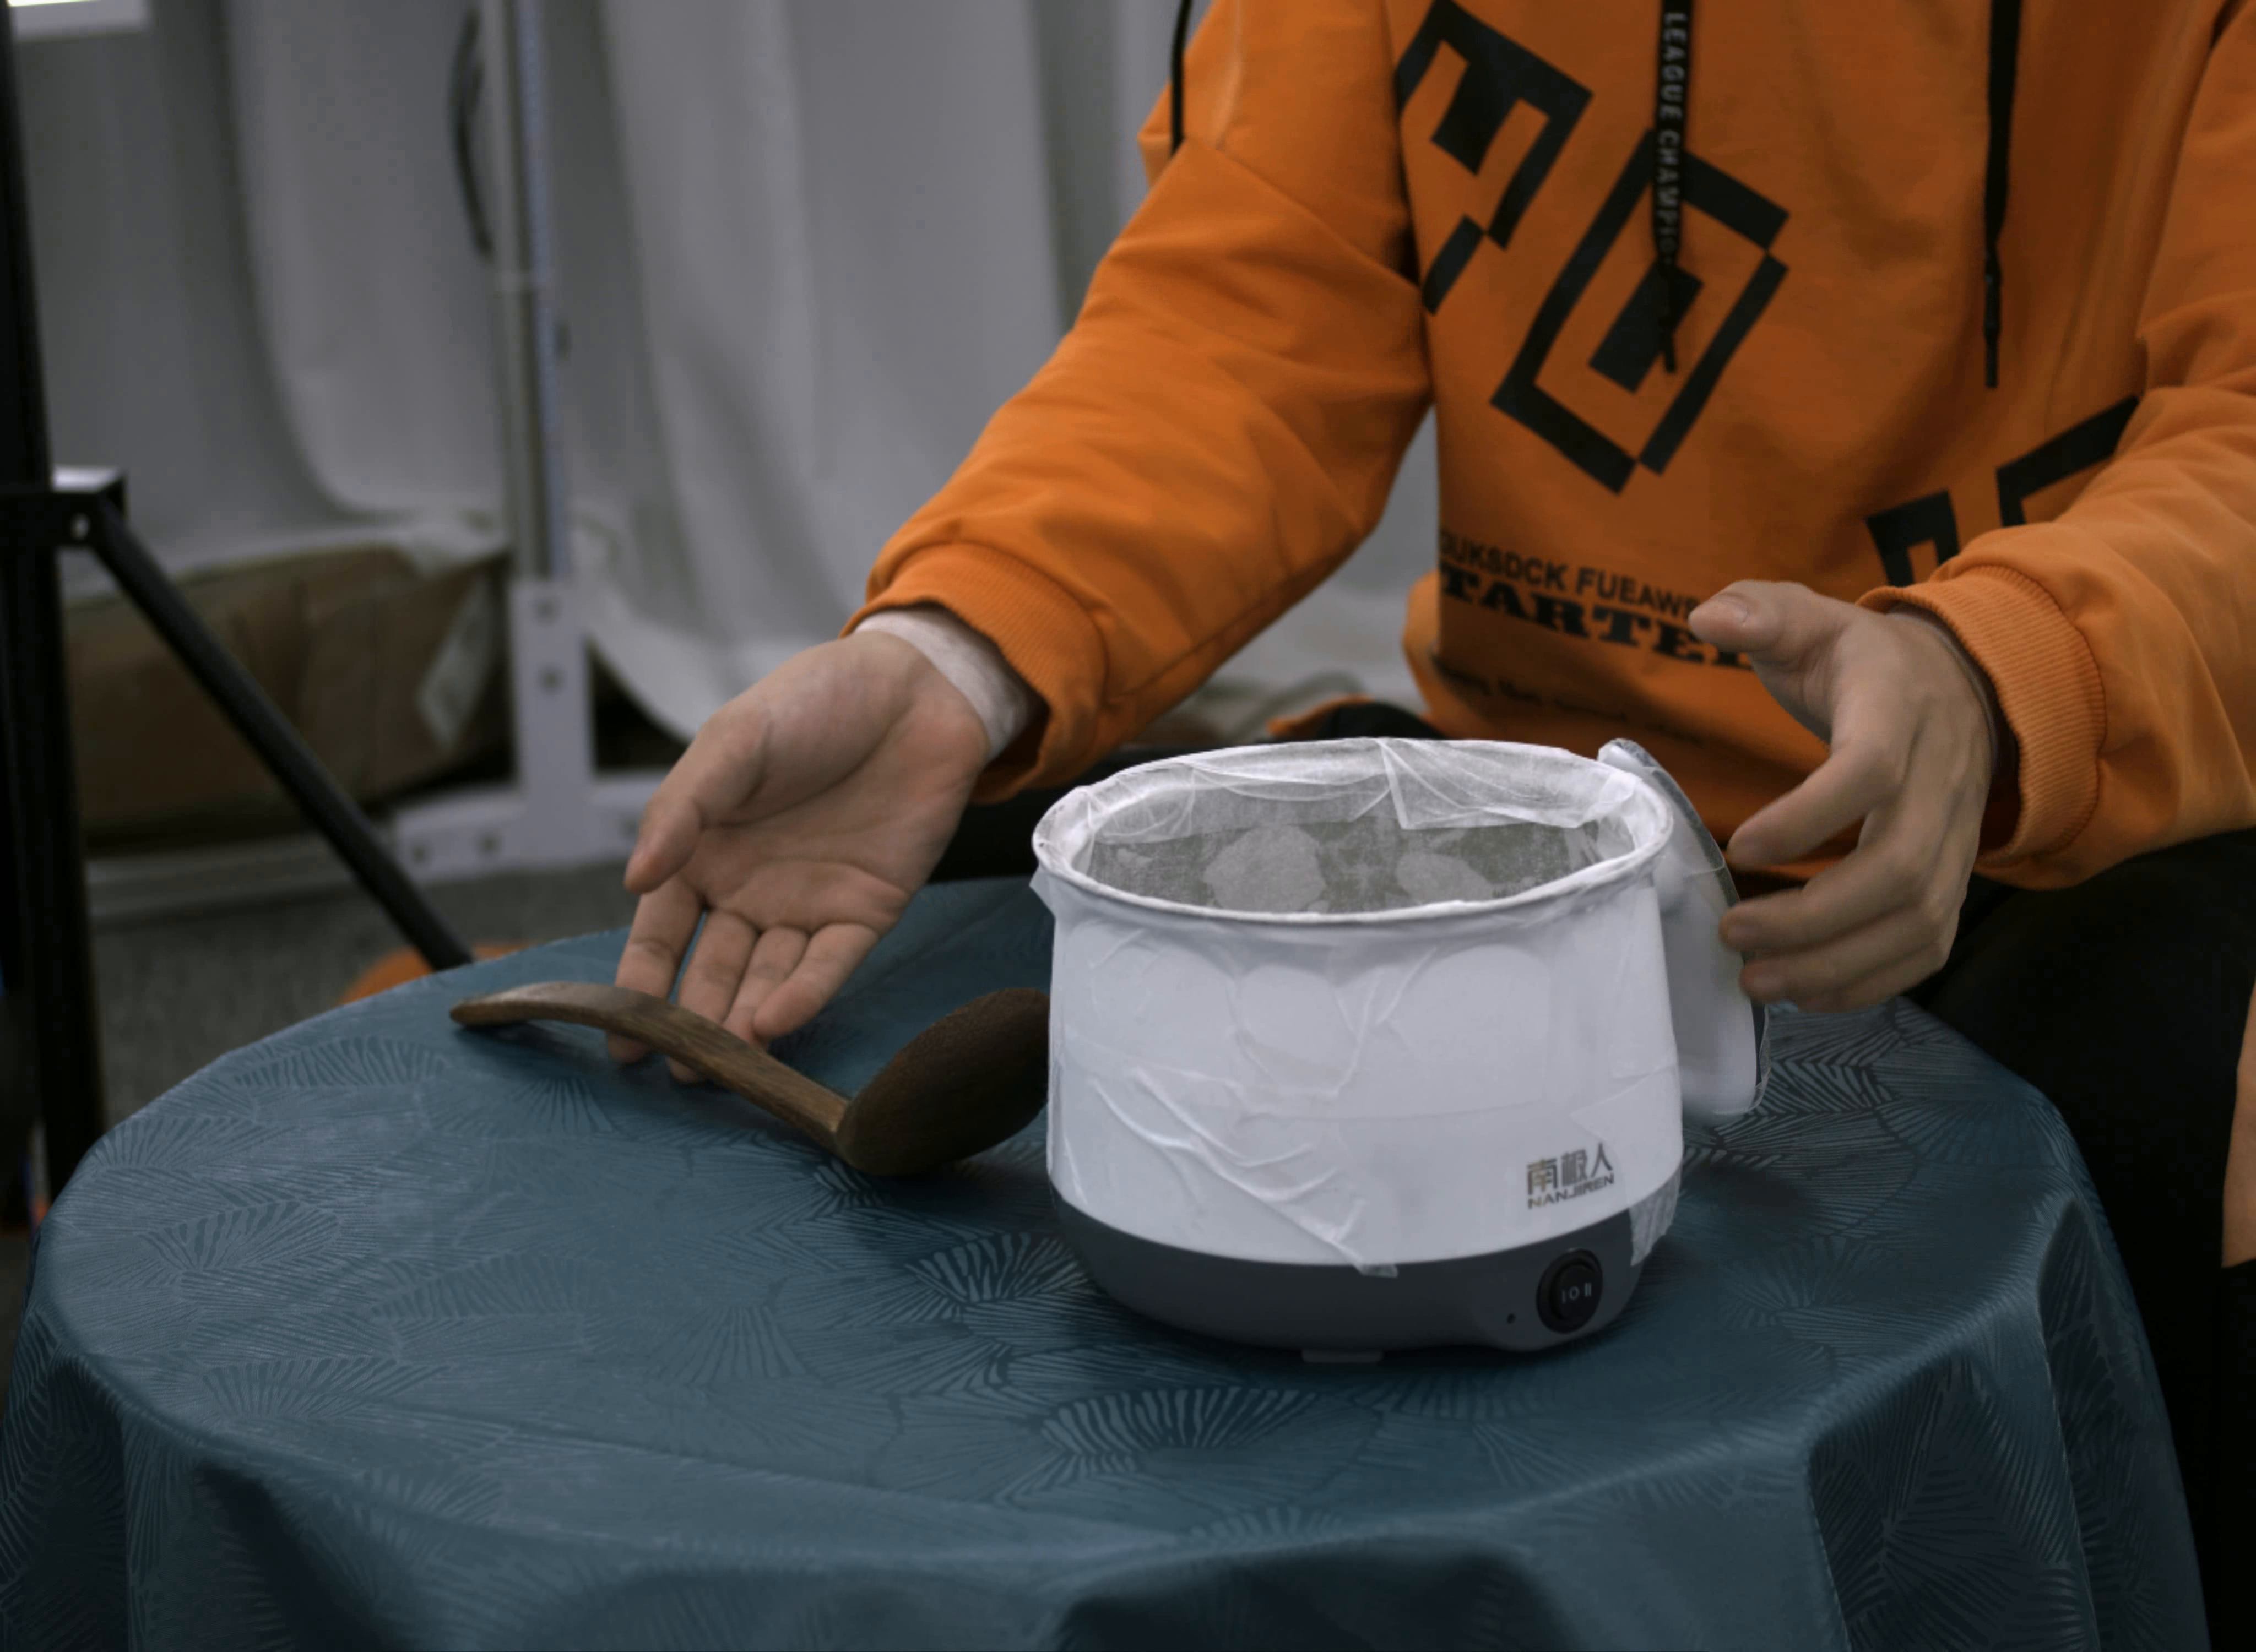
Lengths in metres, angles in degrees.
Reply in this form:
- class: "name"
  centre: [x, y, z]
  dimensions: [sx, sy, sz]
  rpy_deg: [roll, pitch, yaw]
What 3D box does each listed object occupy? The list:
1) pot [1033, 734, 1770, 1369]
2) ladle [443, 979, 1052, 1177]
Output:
- class: "pot"
  centre: [0.086, 0.055, 1.481]
  dimensions: [0.228, 0.136, 0.183]
  rpy_deg: [-14, 20, -35]
- class: "ladle"
  centre: [-0.124, 0.054, 1.640]
  dimensions: [0.074, 0.071, 0.280]
  rpy_deg: [-11, 18, -39]
